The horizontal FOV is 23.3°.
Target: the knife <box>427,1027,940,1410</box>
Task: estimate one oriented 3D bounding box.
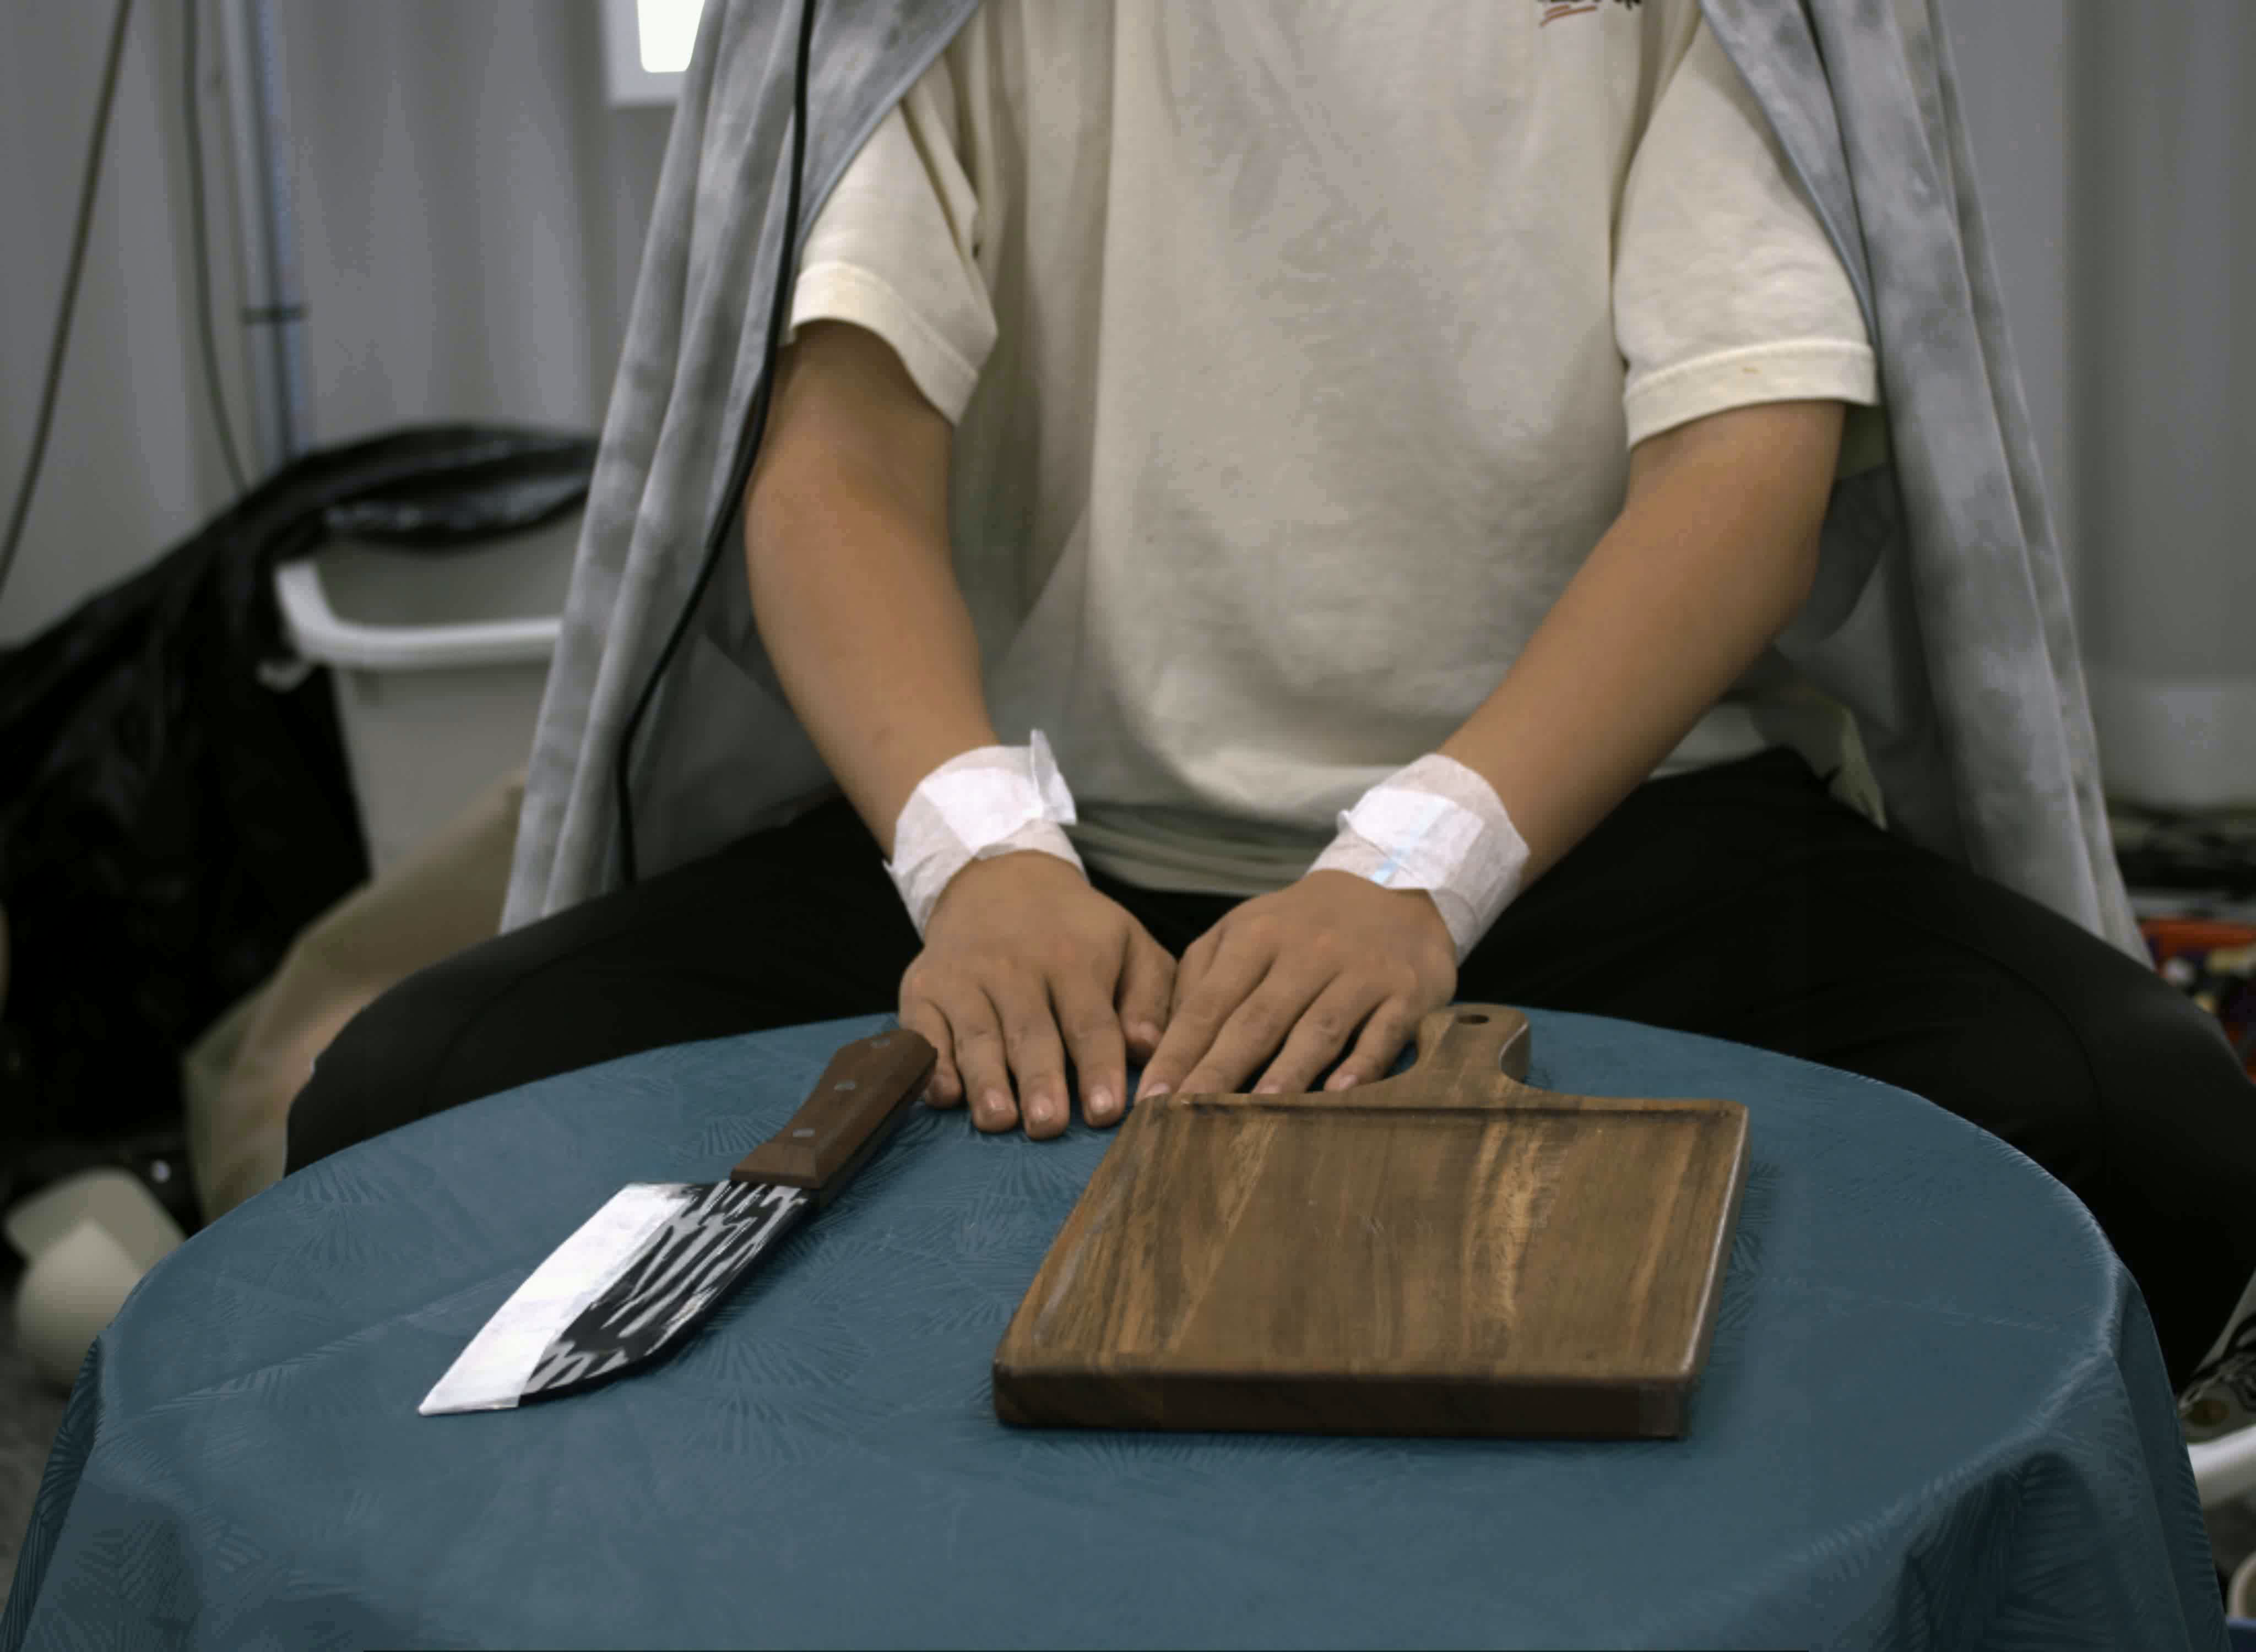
[{"bbox_3d":[-0.132,0.121,1.685,0.068,0.024,0.301,0,18,19],"label":"knife"}]

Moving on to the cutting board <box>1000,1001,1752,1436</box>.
[{"bbox_3d":[0.088,0.113,1.668,0.201,0.023,0.354,0,15,11],"label":"cutting board"}]
